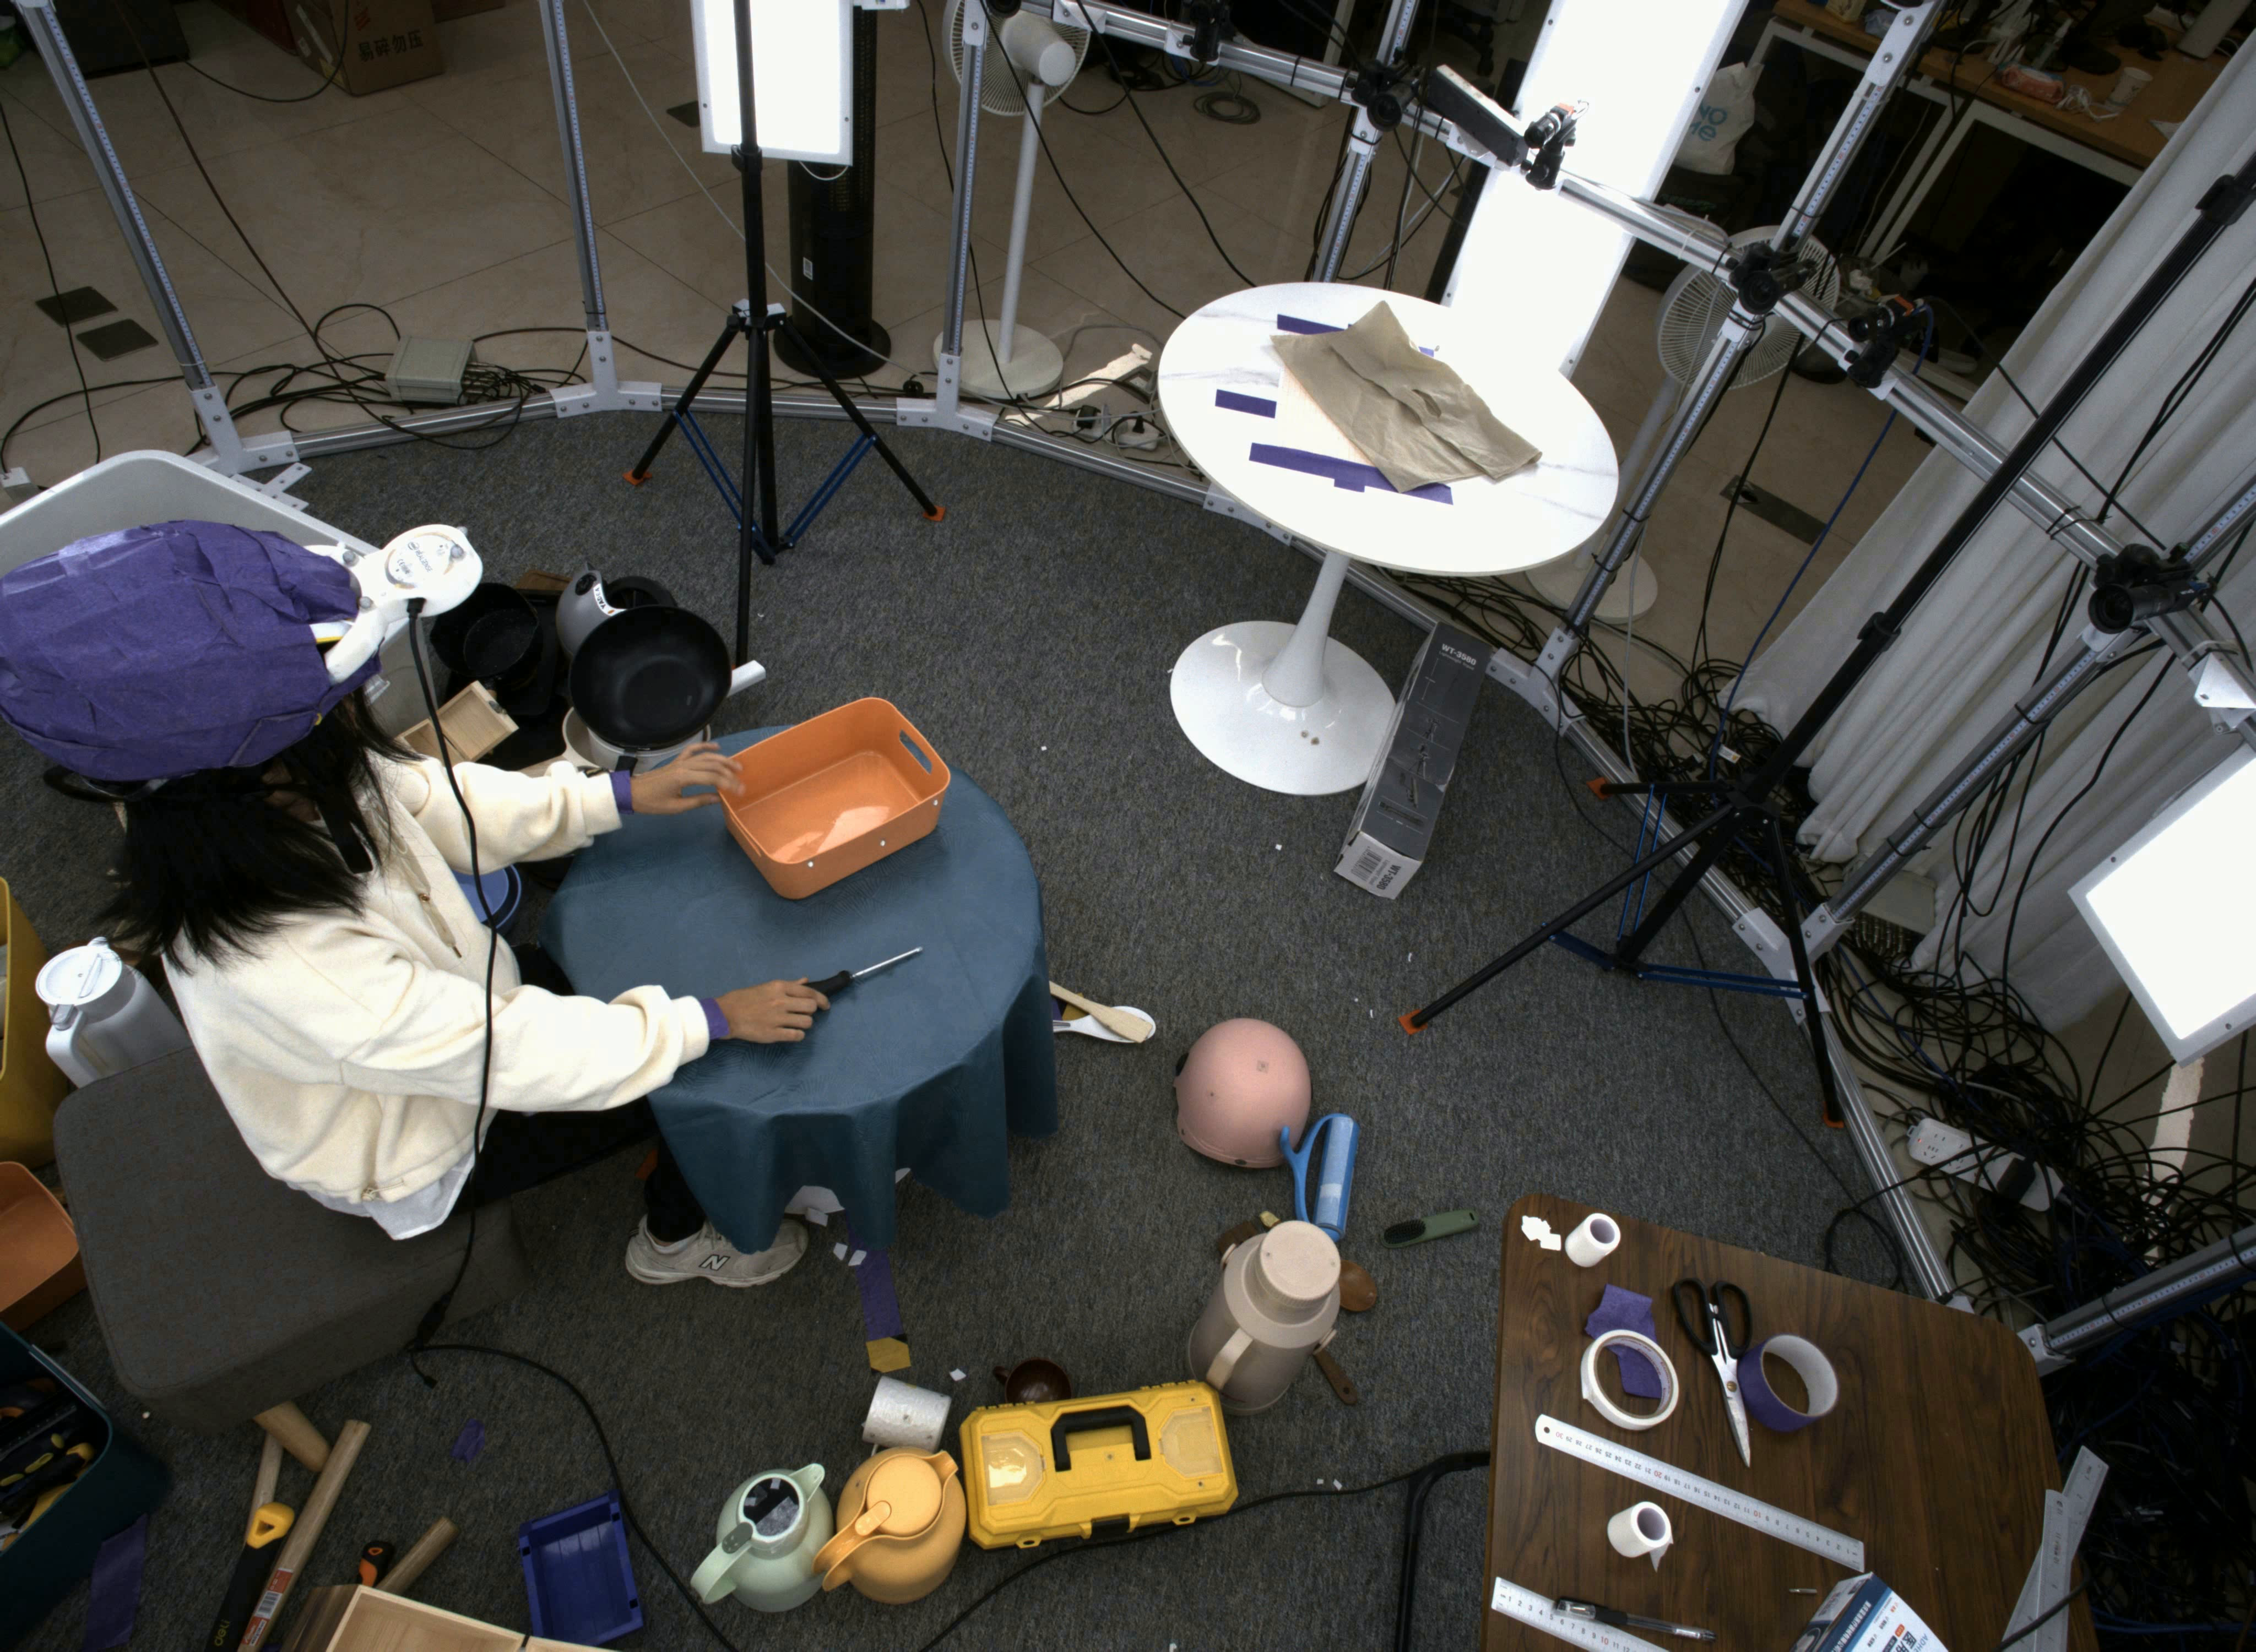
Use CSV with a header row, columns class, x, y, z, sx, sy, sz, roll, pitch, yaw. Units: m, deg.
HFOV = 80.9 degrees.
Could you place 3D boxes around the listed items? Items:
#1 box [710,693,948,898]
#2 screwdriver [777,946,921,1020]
class,x,y,z,sx,sy,sz,roll,pitch,yaw
box,-0.388,-0.039,1.689,0.274,0.104,0.195,-30,66,-32
screwdriver,-0.337,0.188,1.590,0.197,0.032,0.030,-20,59,-31
